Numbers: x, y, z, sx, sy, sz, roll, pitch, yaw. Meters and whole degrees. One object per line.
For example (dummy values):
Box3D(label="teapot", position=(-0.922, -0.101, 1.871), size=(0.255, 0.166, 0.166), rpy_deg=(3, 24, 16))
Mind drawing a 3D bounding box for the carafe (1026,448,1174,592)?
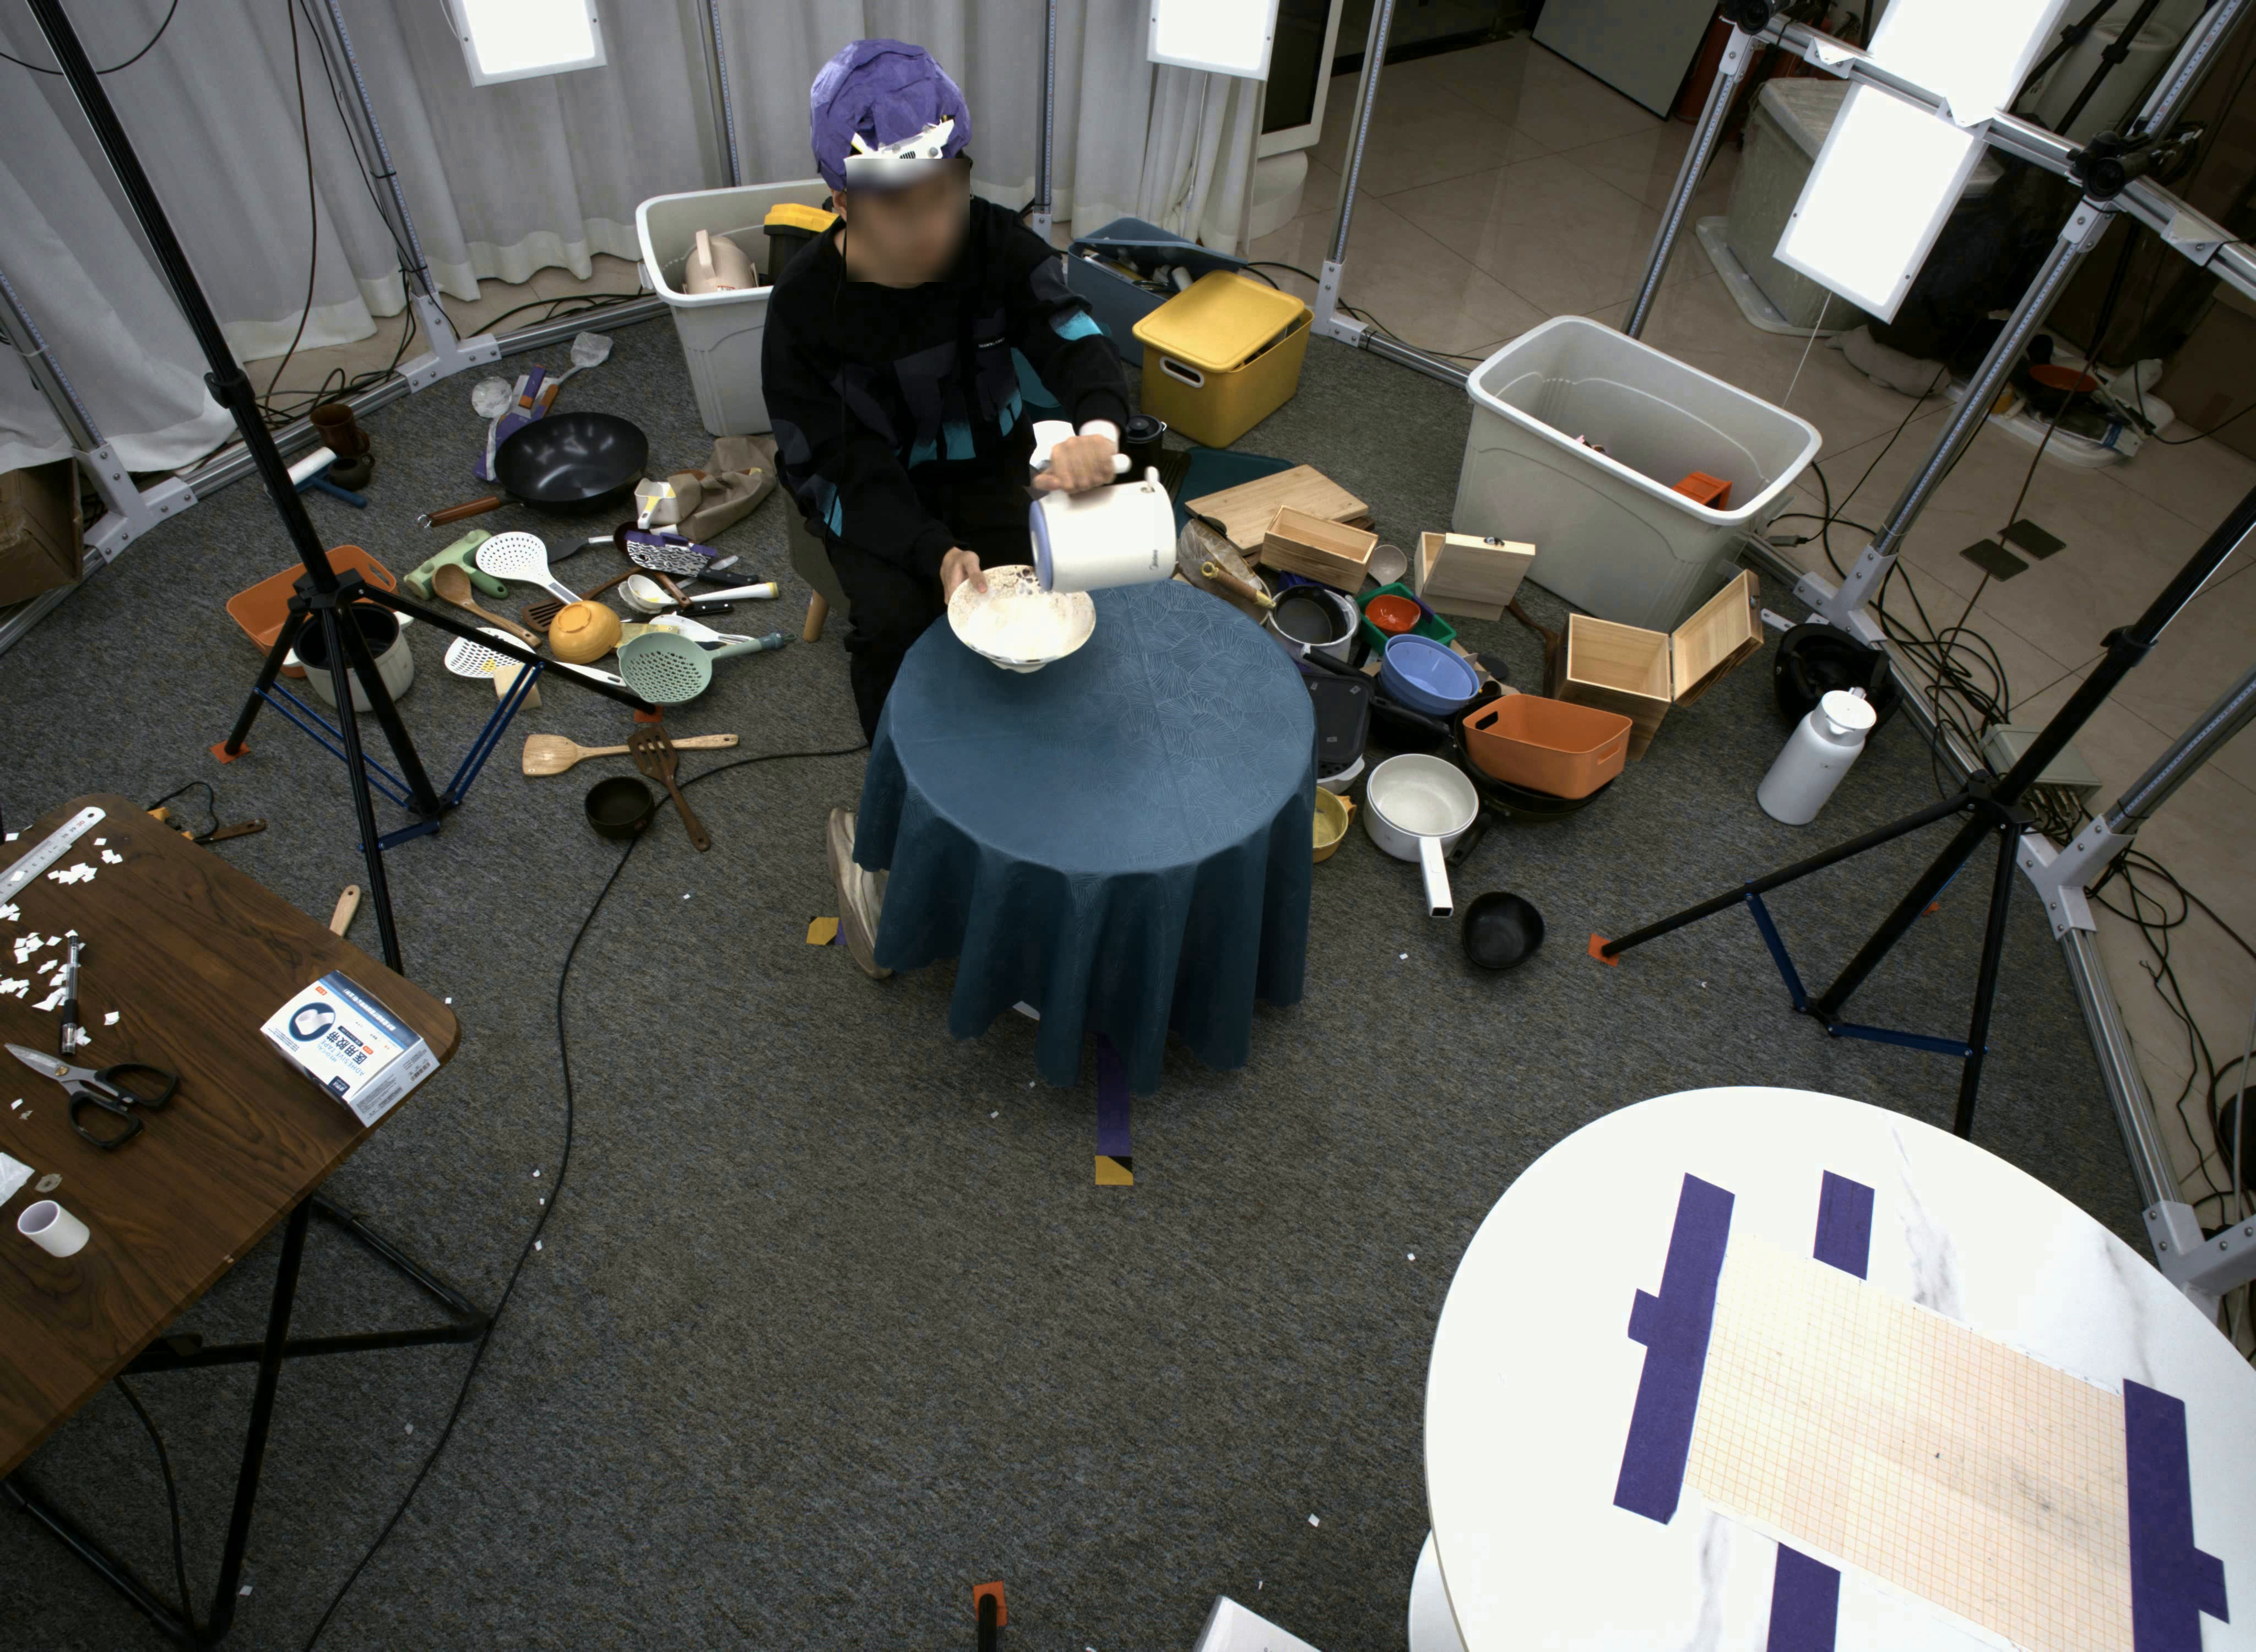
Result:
Box3D(label="carafe", position=(-0.037, -0.397, 1.670), size=(0.182, 0.186, 0.135), rpy_deg=(-9, 43, -10))

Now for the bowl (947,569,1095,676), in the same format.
Box3D(label="bowl", position=(-0.149, -0.268, 1.797), size=(0.204, 0.076, 0.209), rpy_deg=(3, 46, -3))
